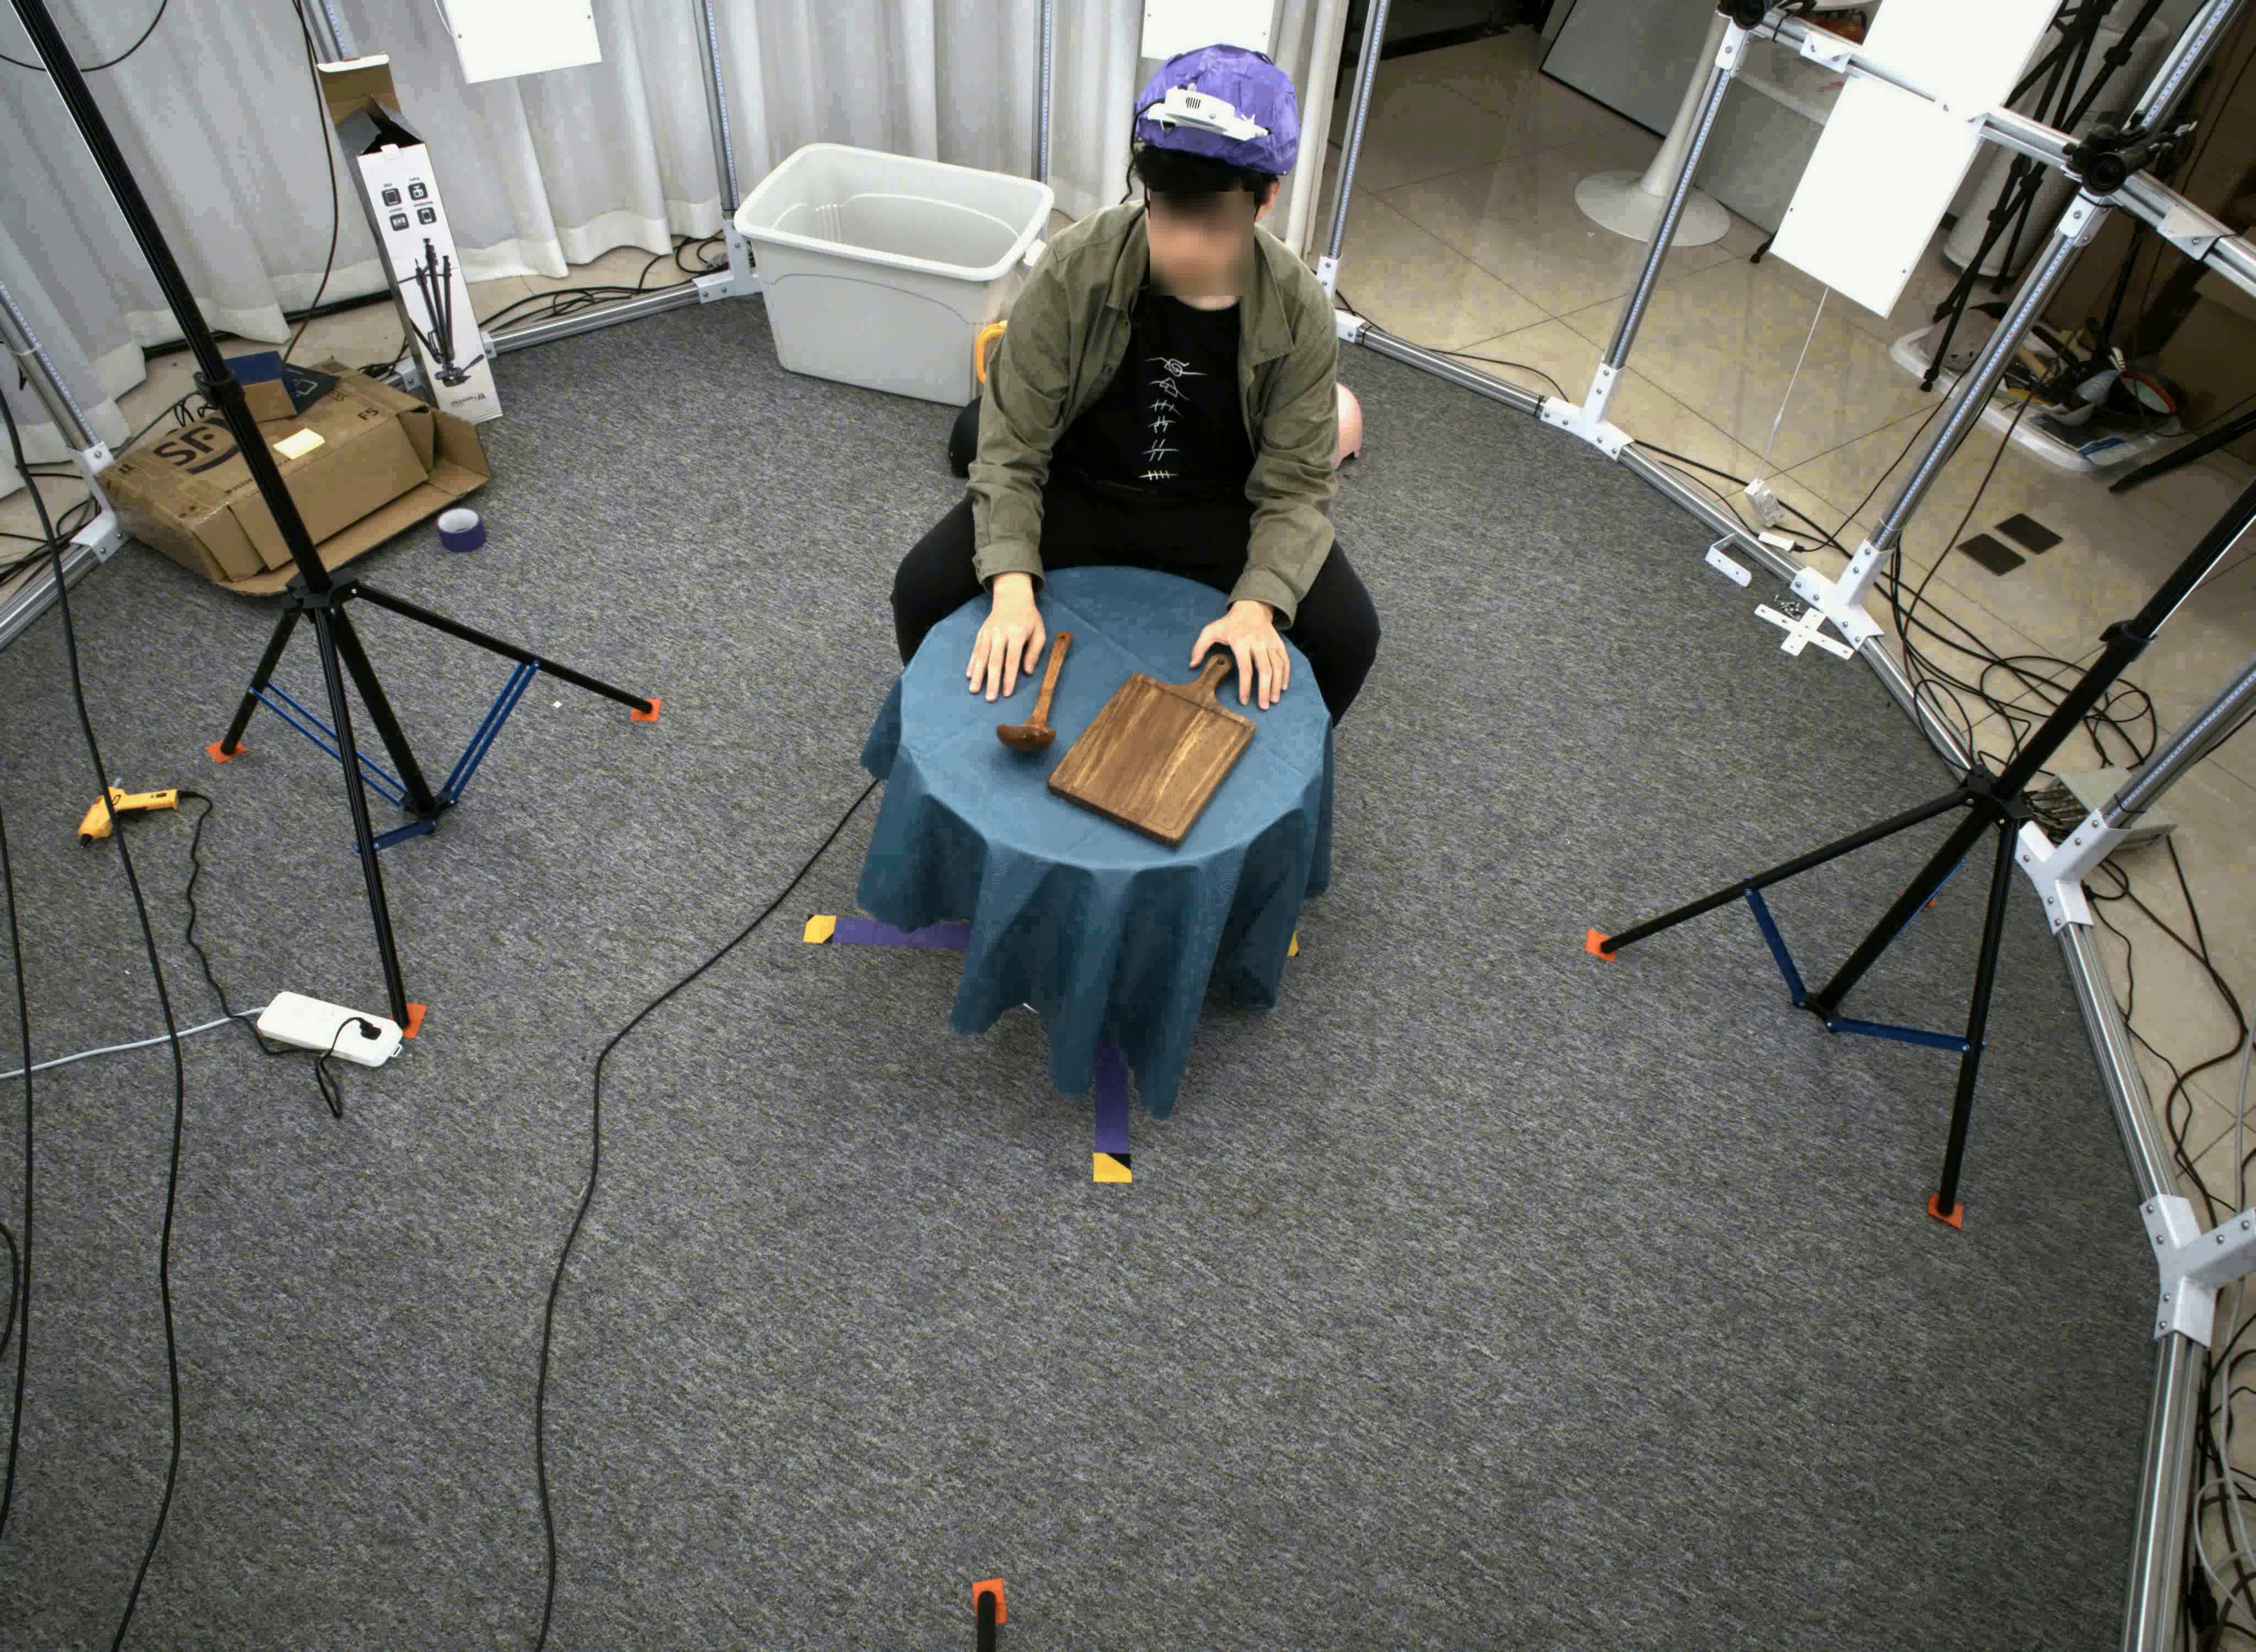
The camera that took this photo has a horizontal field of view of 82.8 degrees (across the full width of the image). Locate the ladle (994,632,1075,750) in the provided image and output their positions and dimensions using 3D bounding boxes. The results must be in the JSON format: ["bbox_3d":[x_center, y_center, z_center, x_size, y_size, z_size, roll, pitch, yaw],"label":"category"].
[{"bbox_3d":[-0.119,-0.204,1.777,0.082,0.075,0.280,7,48,8],"label":"ladle"}]

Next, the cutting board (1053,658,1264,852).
[{"bbox_3d":[0.069,-0.122,1.756,0.202,0.022,0.358,25,51,16],"label":"cutting board"}]
